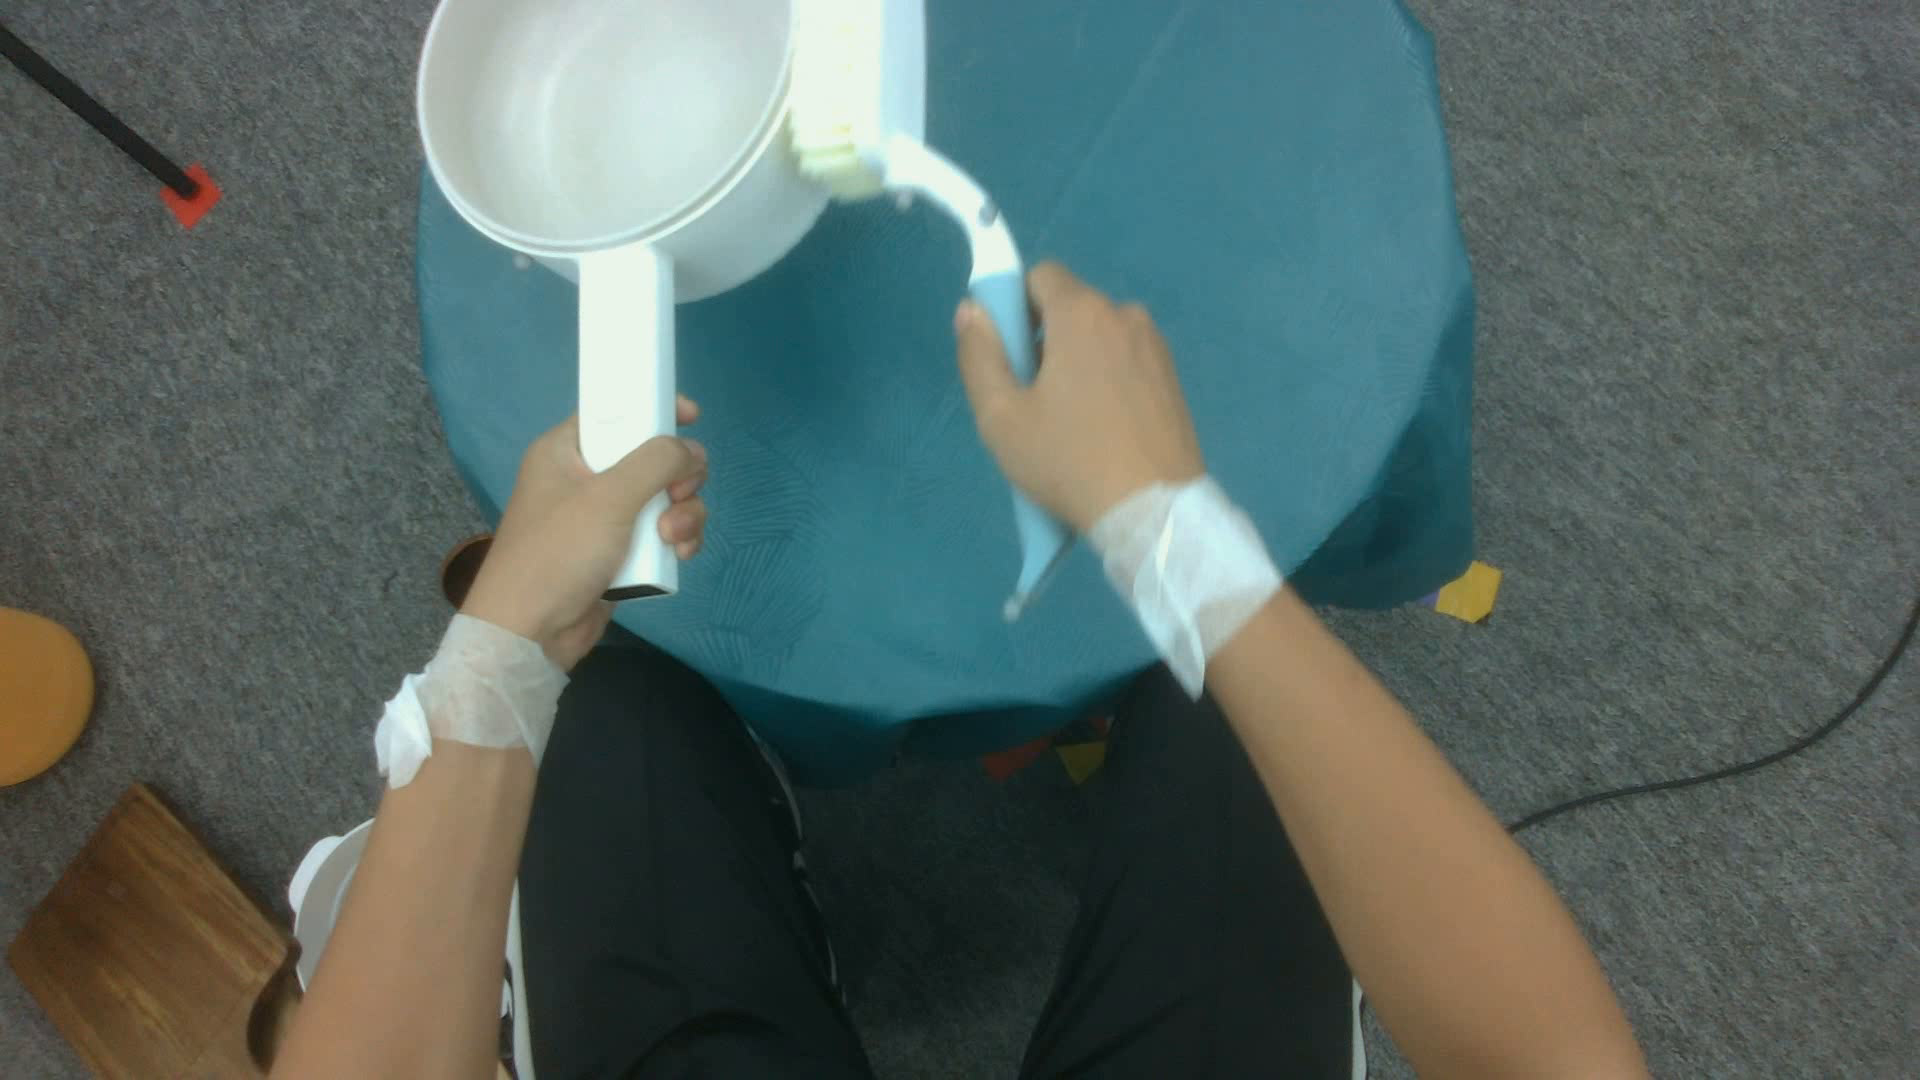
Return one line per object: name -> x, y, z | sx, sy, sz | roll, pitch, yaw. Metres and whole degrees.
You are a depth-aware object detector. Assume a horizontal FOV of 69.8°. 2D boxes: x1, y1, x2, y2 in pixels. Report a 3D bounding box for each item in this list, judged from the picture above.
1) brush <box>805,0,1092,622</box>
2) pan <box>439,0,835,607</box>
brush -> -0.023, -0.115, 0.623 | 0.083, 0.084, 0.326 | -4, 77, -36
pan -> -0.143, -0.140, 0.683 | 0.201, 0.102, 0.355 | -8, 77, 14
